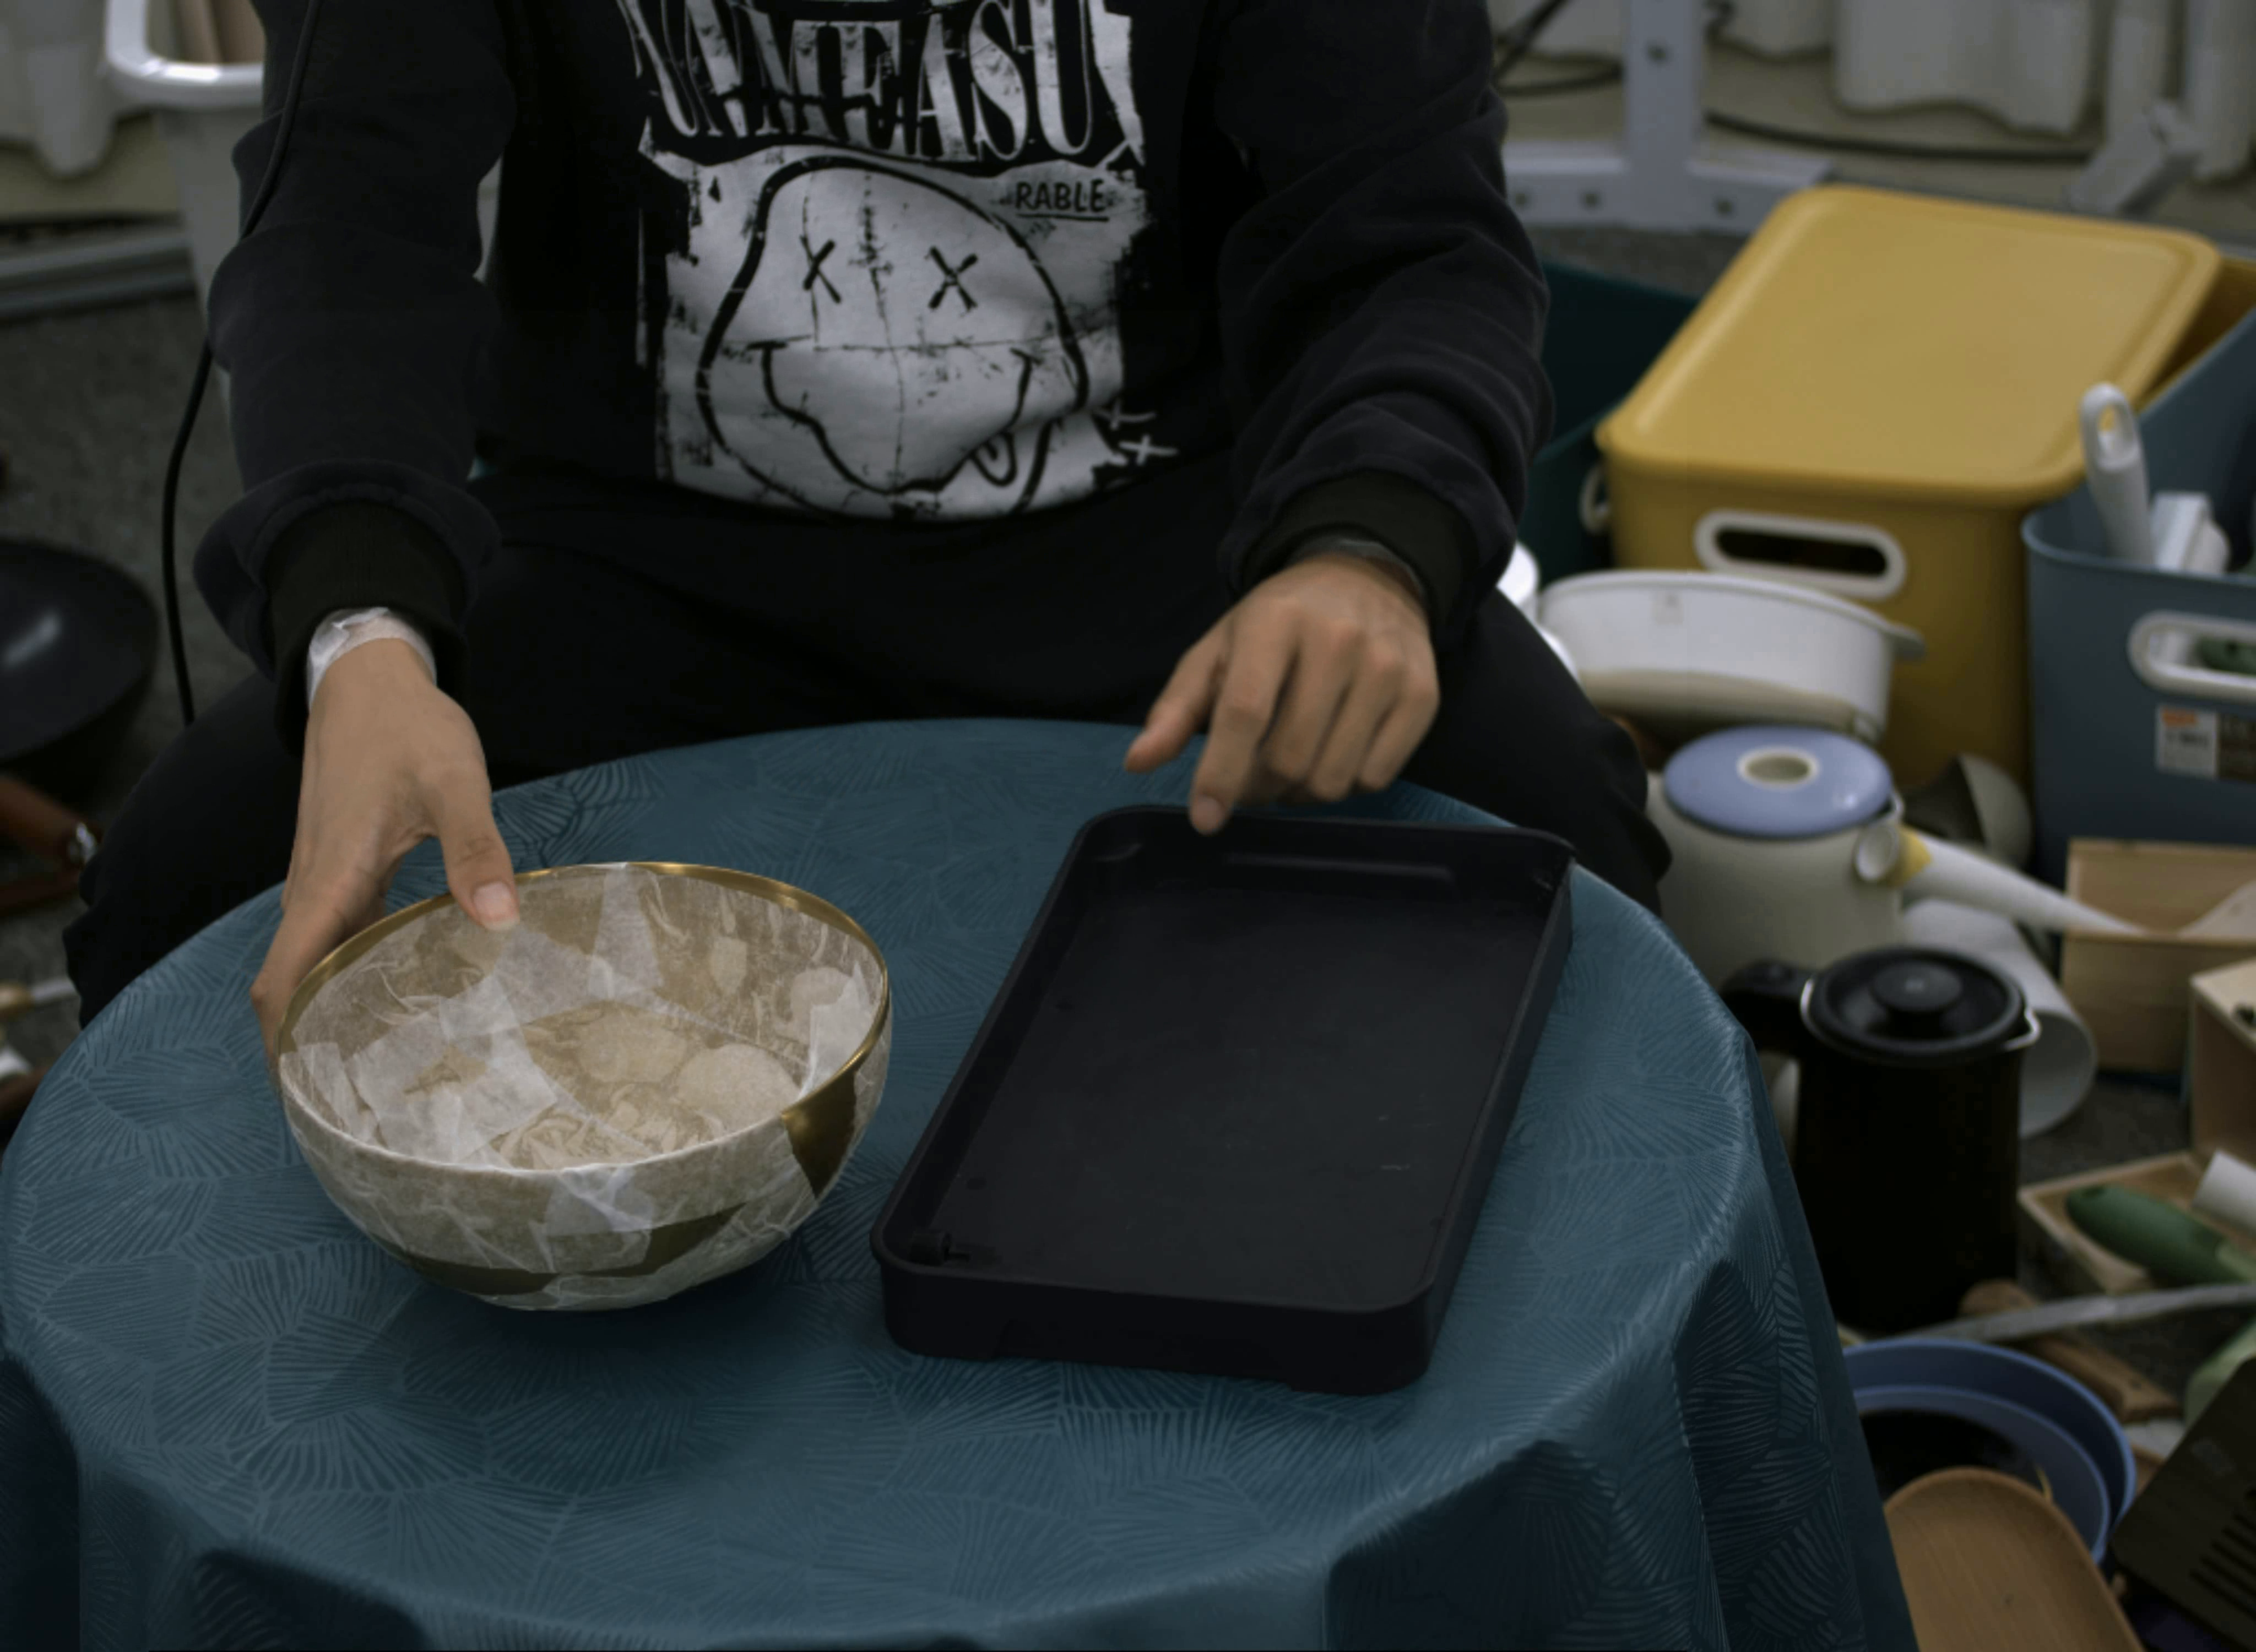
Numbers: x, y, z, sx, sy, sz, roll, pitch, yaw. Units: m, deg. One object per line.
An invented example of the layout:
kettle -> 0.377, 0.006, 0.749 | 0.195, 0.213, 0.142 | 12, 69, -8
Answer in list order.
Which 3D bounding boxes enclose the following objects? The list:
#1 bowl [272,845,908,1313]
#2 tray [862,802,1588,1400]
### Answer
bowl -> -0.169, 0.096, 1.829 | 0.213, 0.093, 0.218 | -3, 27, 2
tray -> 0.040, 0.085, 1.889 | 0.183, 0.036, 0.323 | 5, 29, 14
